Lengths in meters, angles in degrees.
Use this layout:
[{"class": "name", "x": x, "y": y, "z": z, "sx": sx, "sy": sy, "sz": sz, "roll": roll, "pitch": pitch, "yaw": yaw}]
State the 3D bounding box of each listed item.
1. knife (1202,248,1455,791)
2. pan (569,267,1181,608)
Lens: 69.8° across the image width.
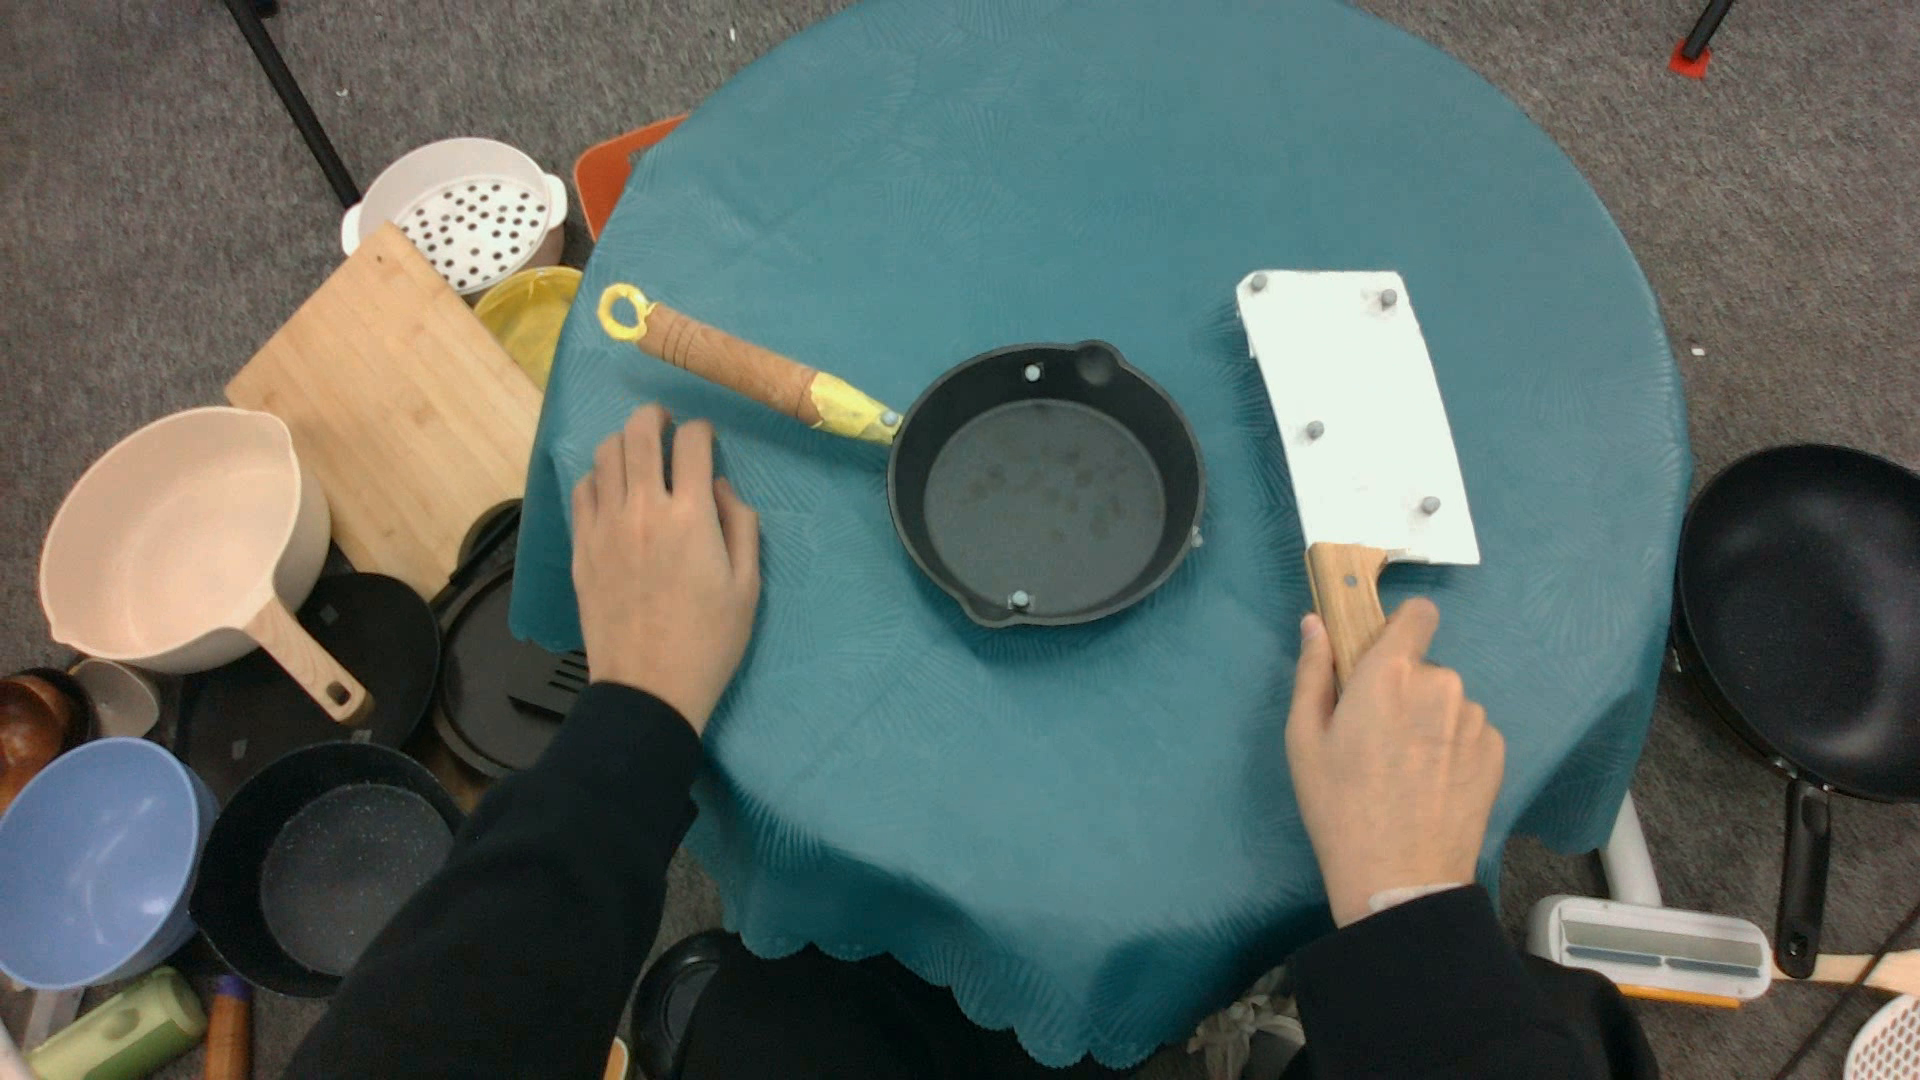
[{"class": "knife", "x": 0.186, "y": -0.028, "z": 0.676, "sx": 0.114, "sy": 0.021, "sz": 0.316, "roll": 4, "pitch": 58, "yaw": -8}, {"class": "pan", "x": -0.048, "y": -0.069, "z": 0.695, "sx": 0.324, "sy": 0.049, "sz": 0.169, "roll": 21, "pitch": 67, "yaw": 8}]
